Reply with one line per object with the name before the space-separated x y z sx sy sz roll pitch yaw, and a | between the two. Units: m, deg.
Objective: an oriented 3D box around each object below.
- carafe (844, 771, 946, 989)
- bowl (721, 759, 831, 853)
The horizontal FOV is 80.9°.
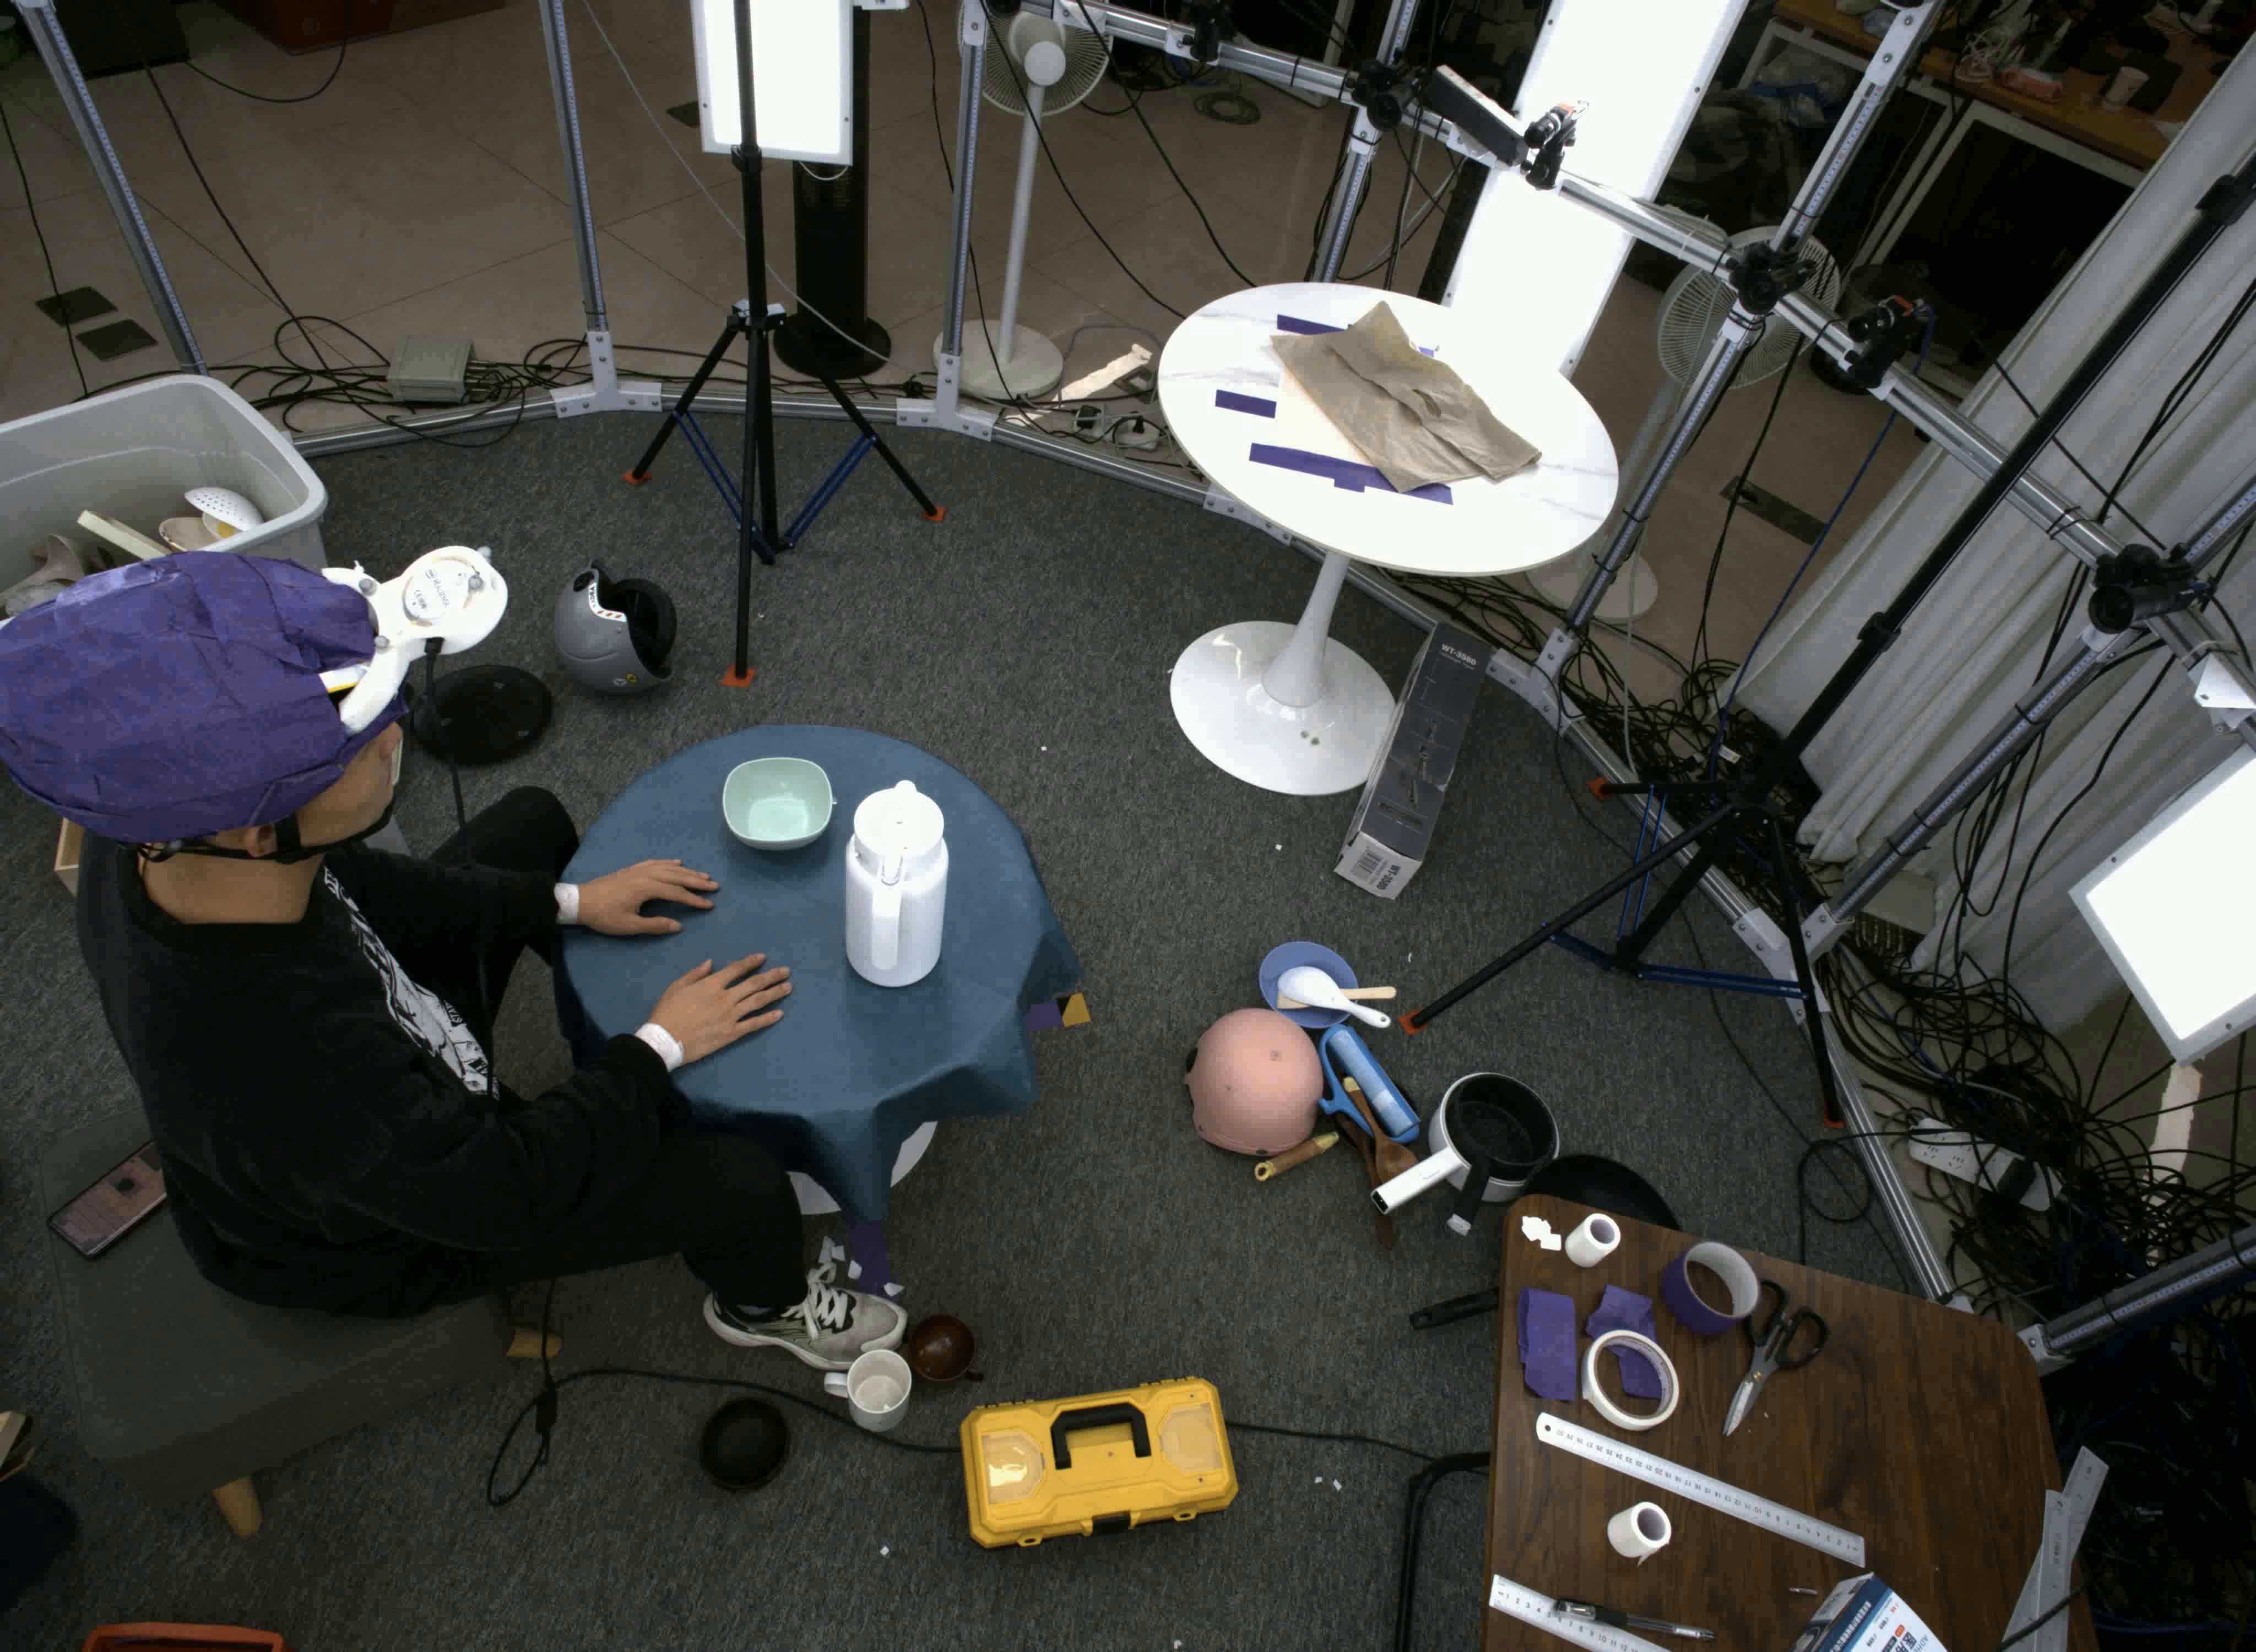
carafe | -0.274 0.086 1.524 0.124 0.274 0.169 6 51 -9
bowl | -0.458 -0.017 1.691 0.151 0.060 0.149 8 52 -8
